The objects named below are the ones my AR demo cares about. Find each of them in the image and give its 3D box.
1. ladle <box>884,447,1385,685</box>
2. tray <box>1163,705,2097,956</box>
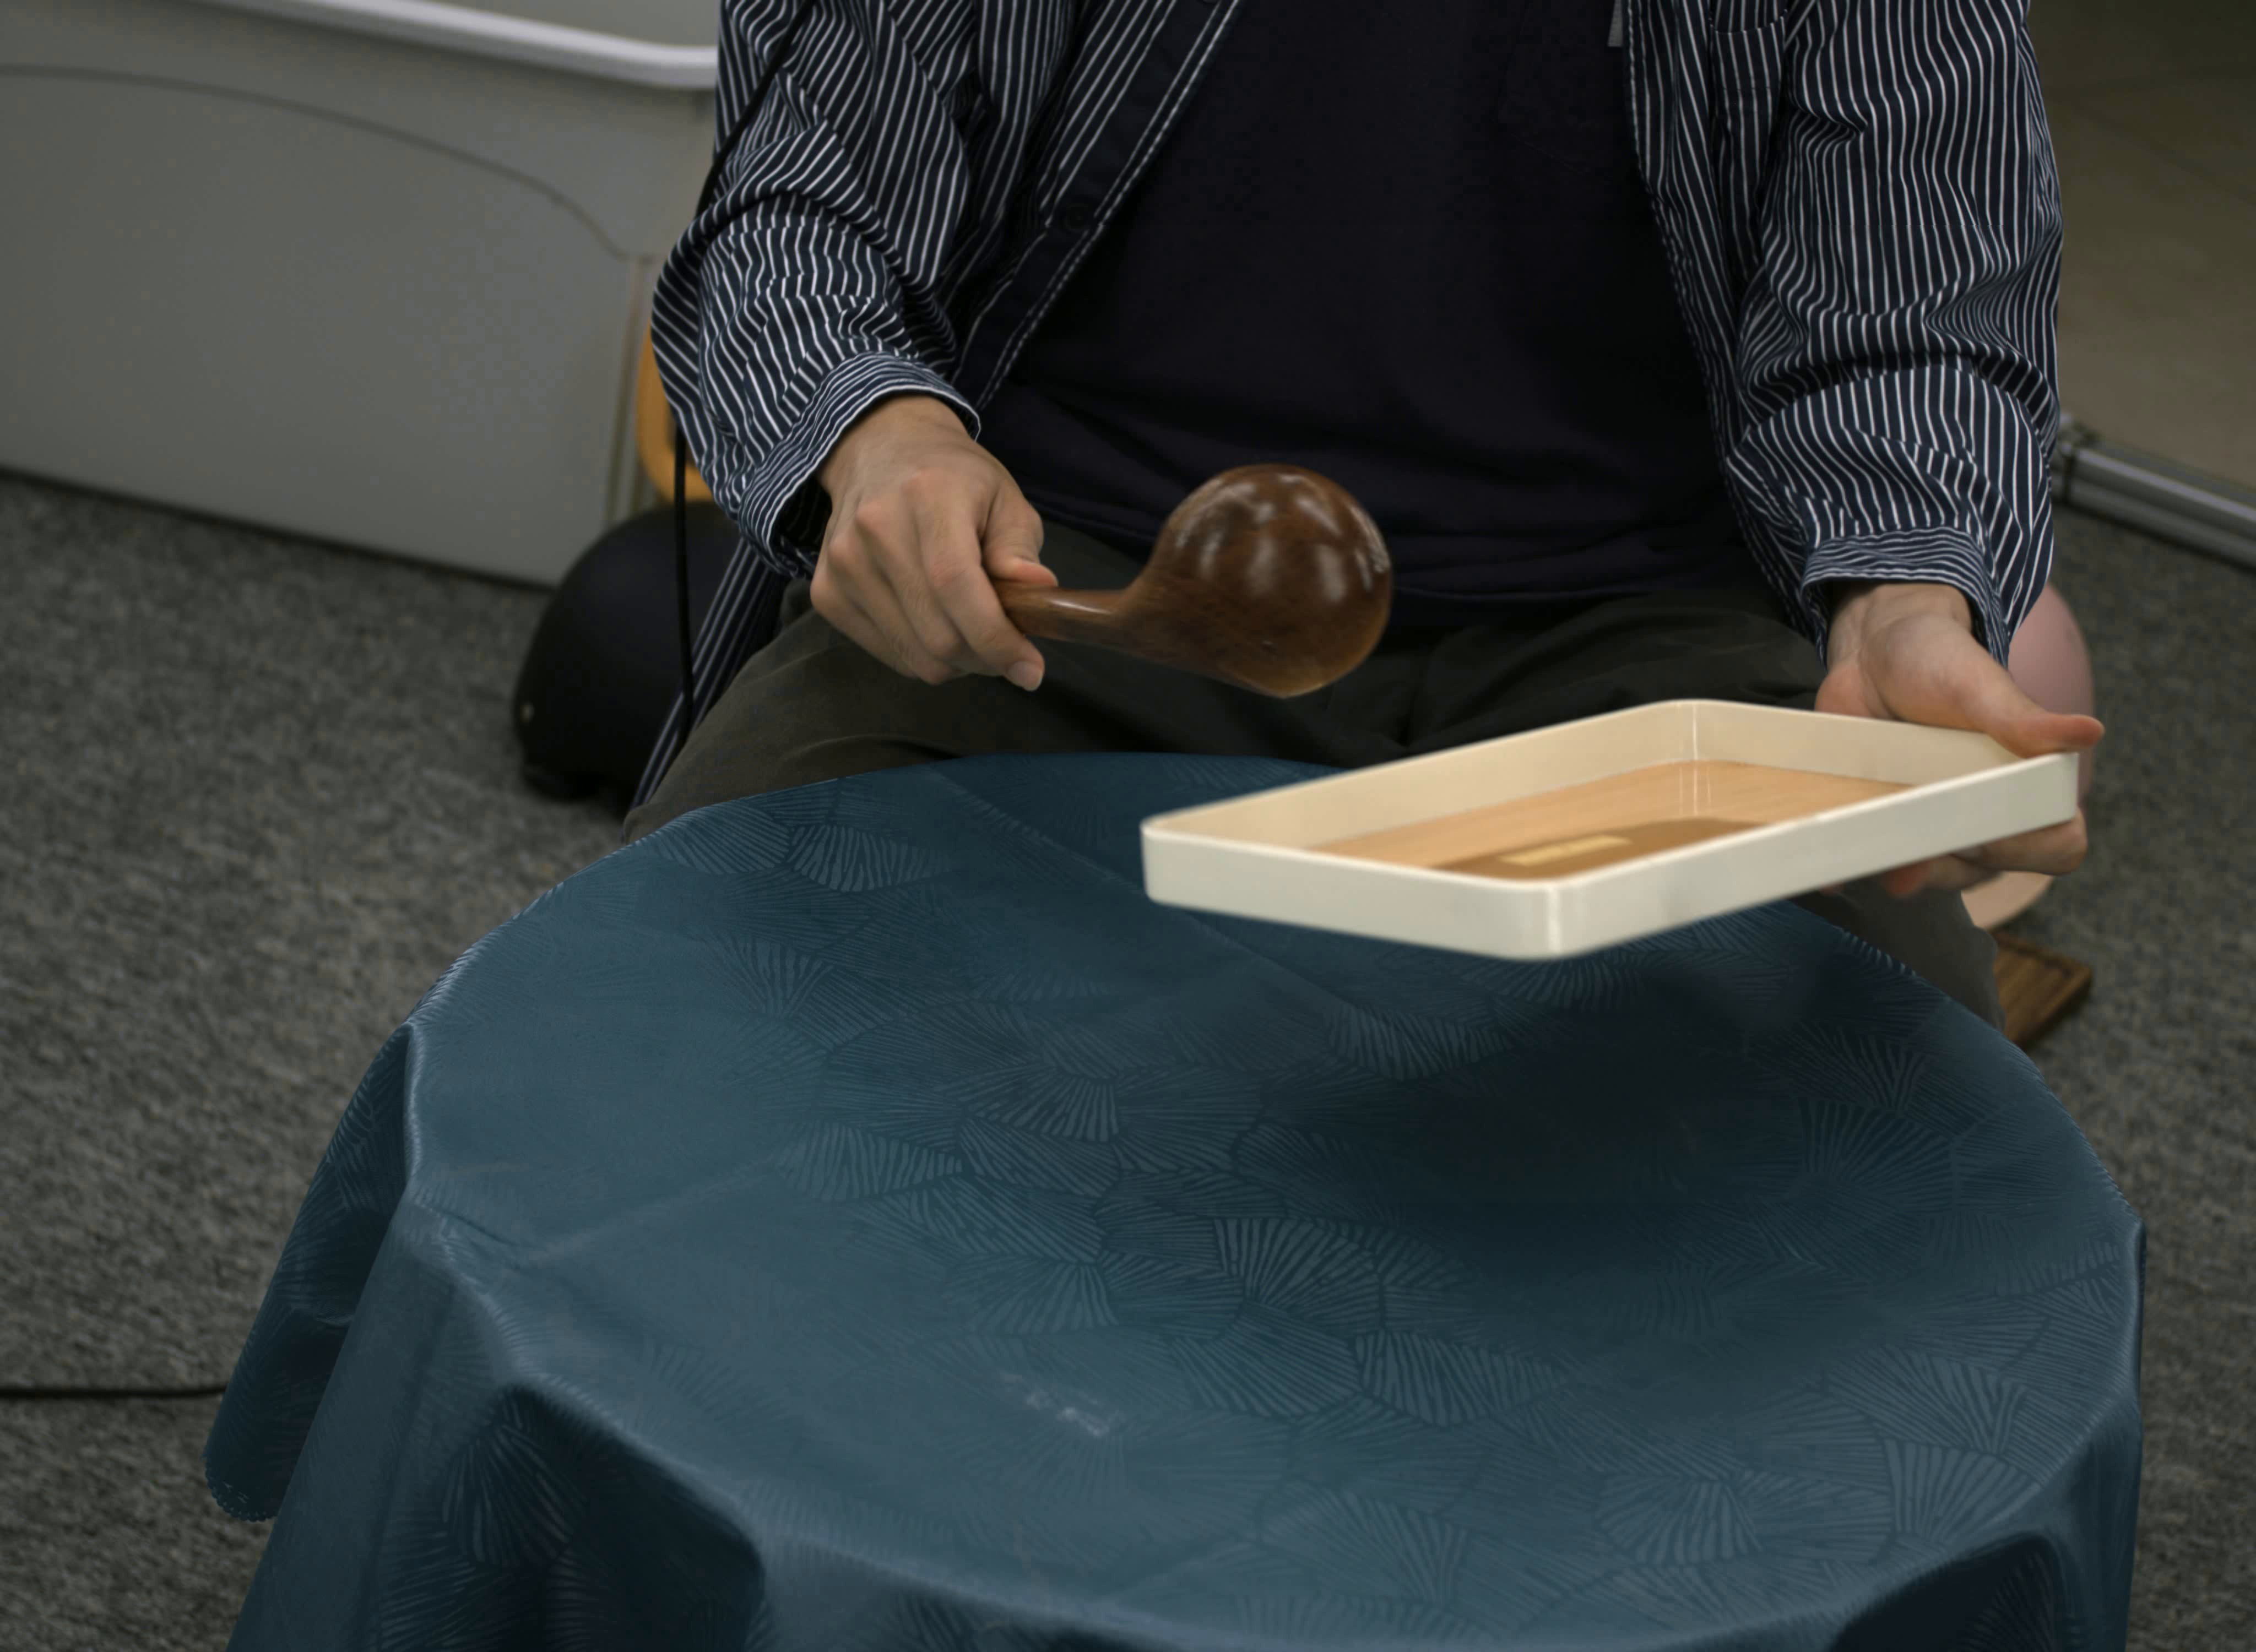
[{"bbox_3d":[-0.001,-0.088,1.879,0.076,0.082,0.275,-28,13,-22],"label":"ladle"},{"bbox_3d":[0.176,-0.001,1.839,0.298,0.027,0.193,-12,14,-43],"label":"tray"}]
